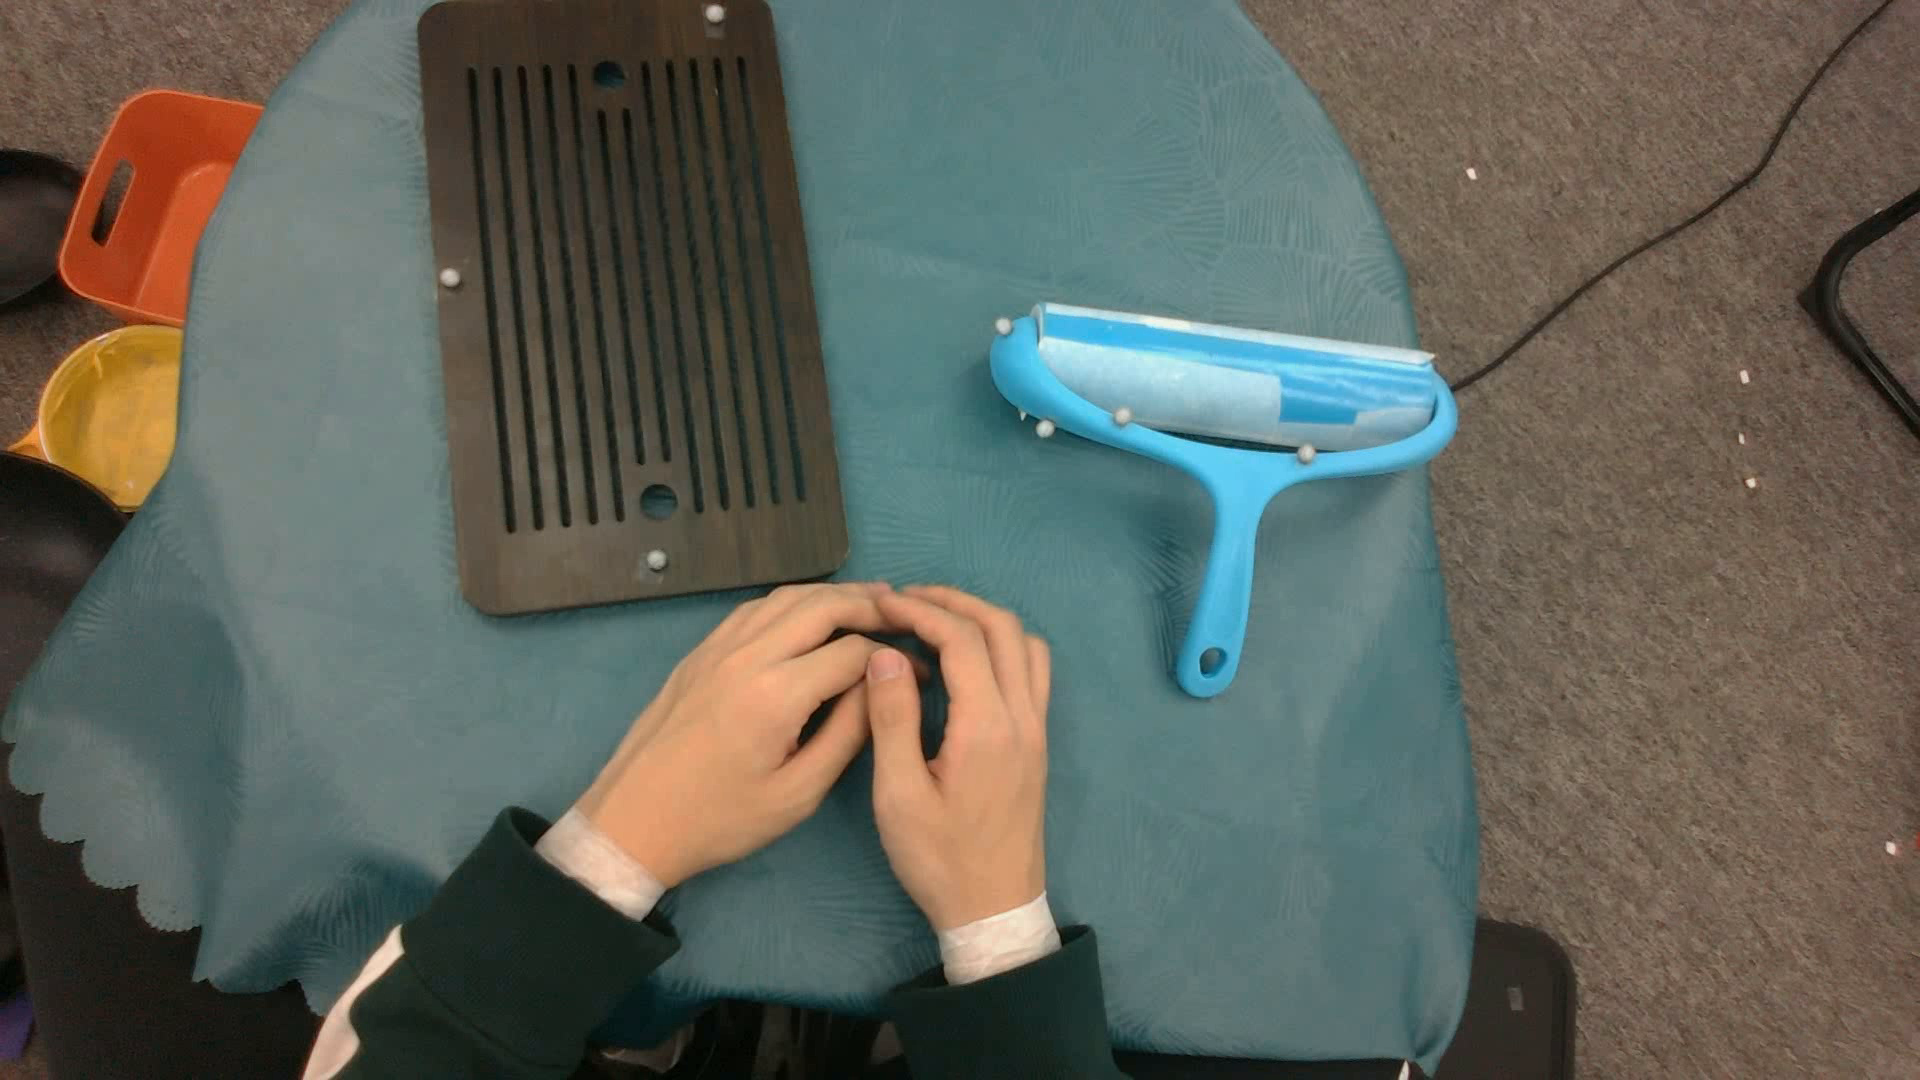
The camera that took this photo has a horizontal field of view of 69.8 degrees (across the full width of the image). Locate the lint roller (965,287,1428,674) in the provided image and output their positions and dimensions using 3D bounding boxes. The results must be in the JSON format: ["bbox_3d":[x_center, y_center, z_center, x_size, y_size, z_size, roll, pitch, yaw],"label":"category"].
[{"bbox_3d":[0.117,-0.030,0.652,0.229,0.067,0.180,2,73,-11],"label":"lint roller"}]

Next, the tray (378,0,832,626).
[{"bbox_3d":[-0.169,-0.118,0.649,0.170,0.018,0.306,-9,76,-12],"label":"tray"}]
